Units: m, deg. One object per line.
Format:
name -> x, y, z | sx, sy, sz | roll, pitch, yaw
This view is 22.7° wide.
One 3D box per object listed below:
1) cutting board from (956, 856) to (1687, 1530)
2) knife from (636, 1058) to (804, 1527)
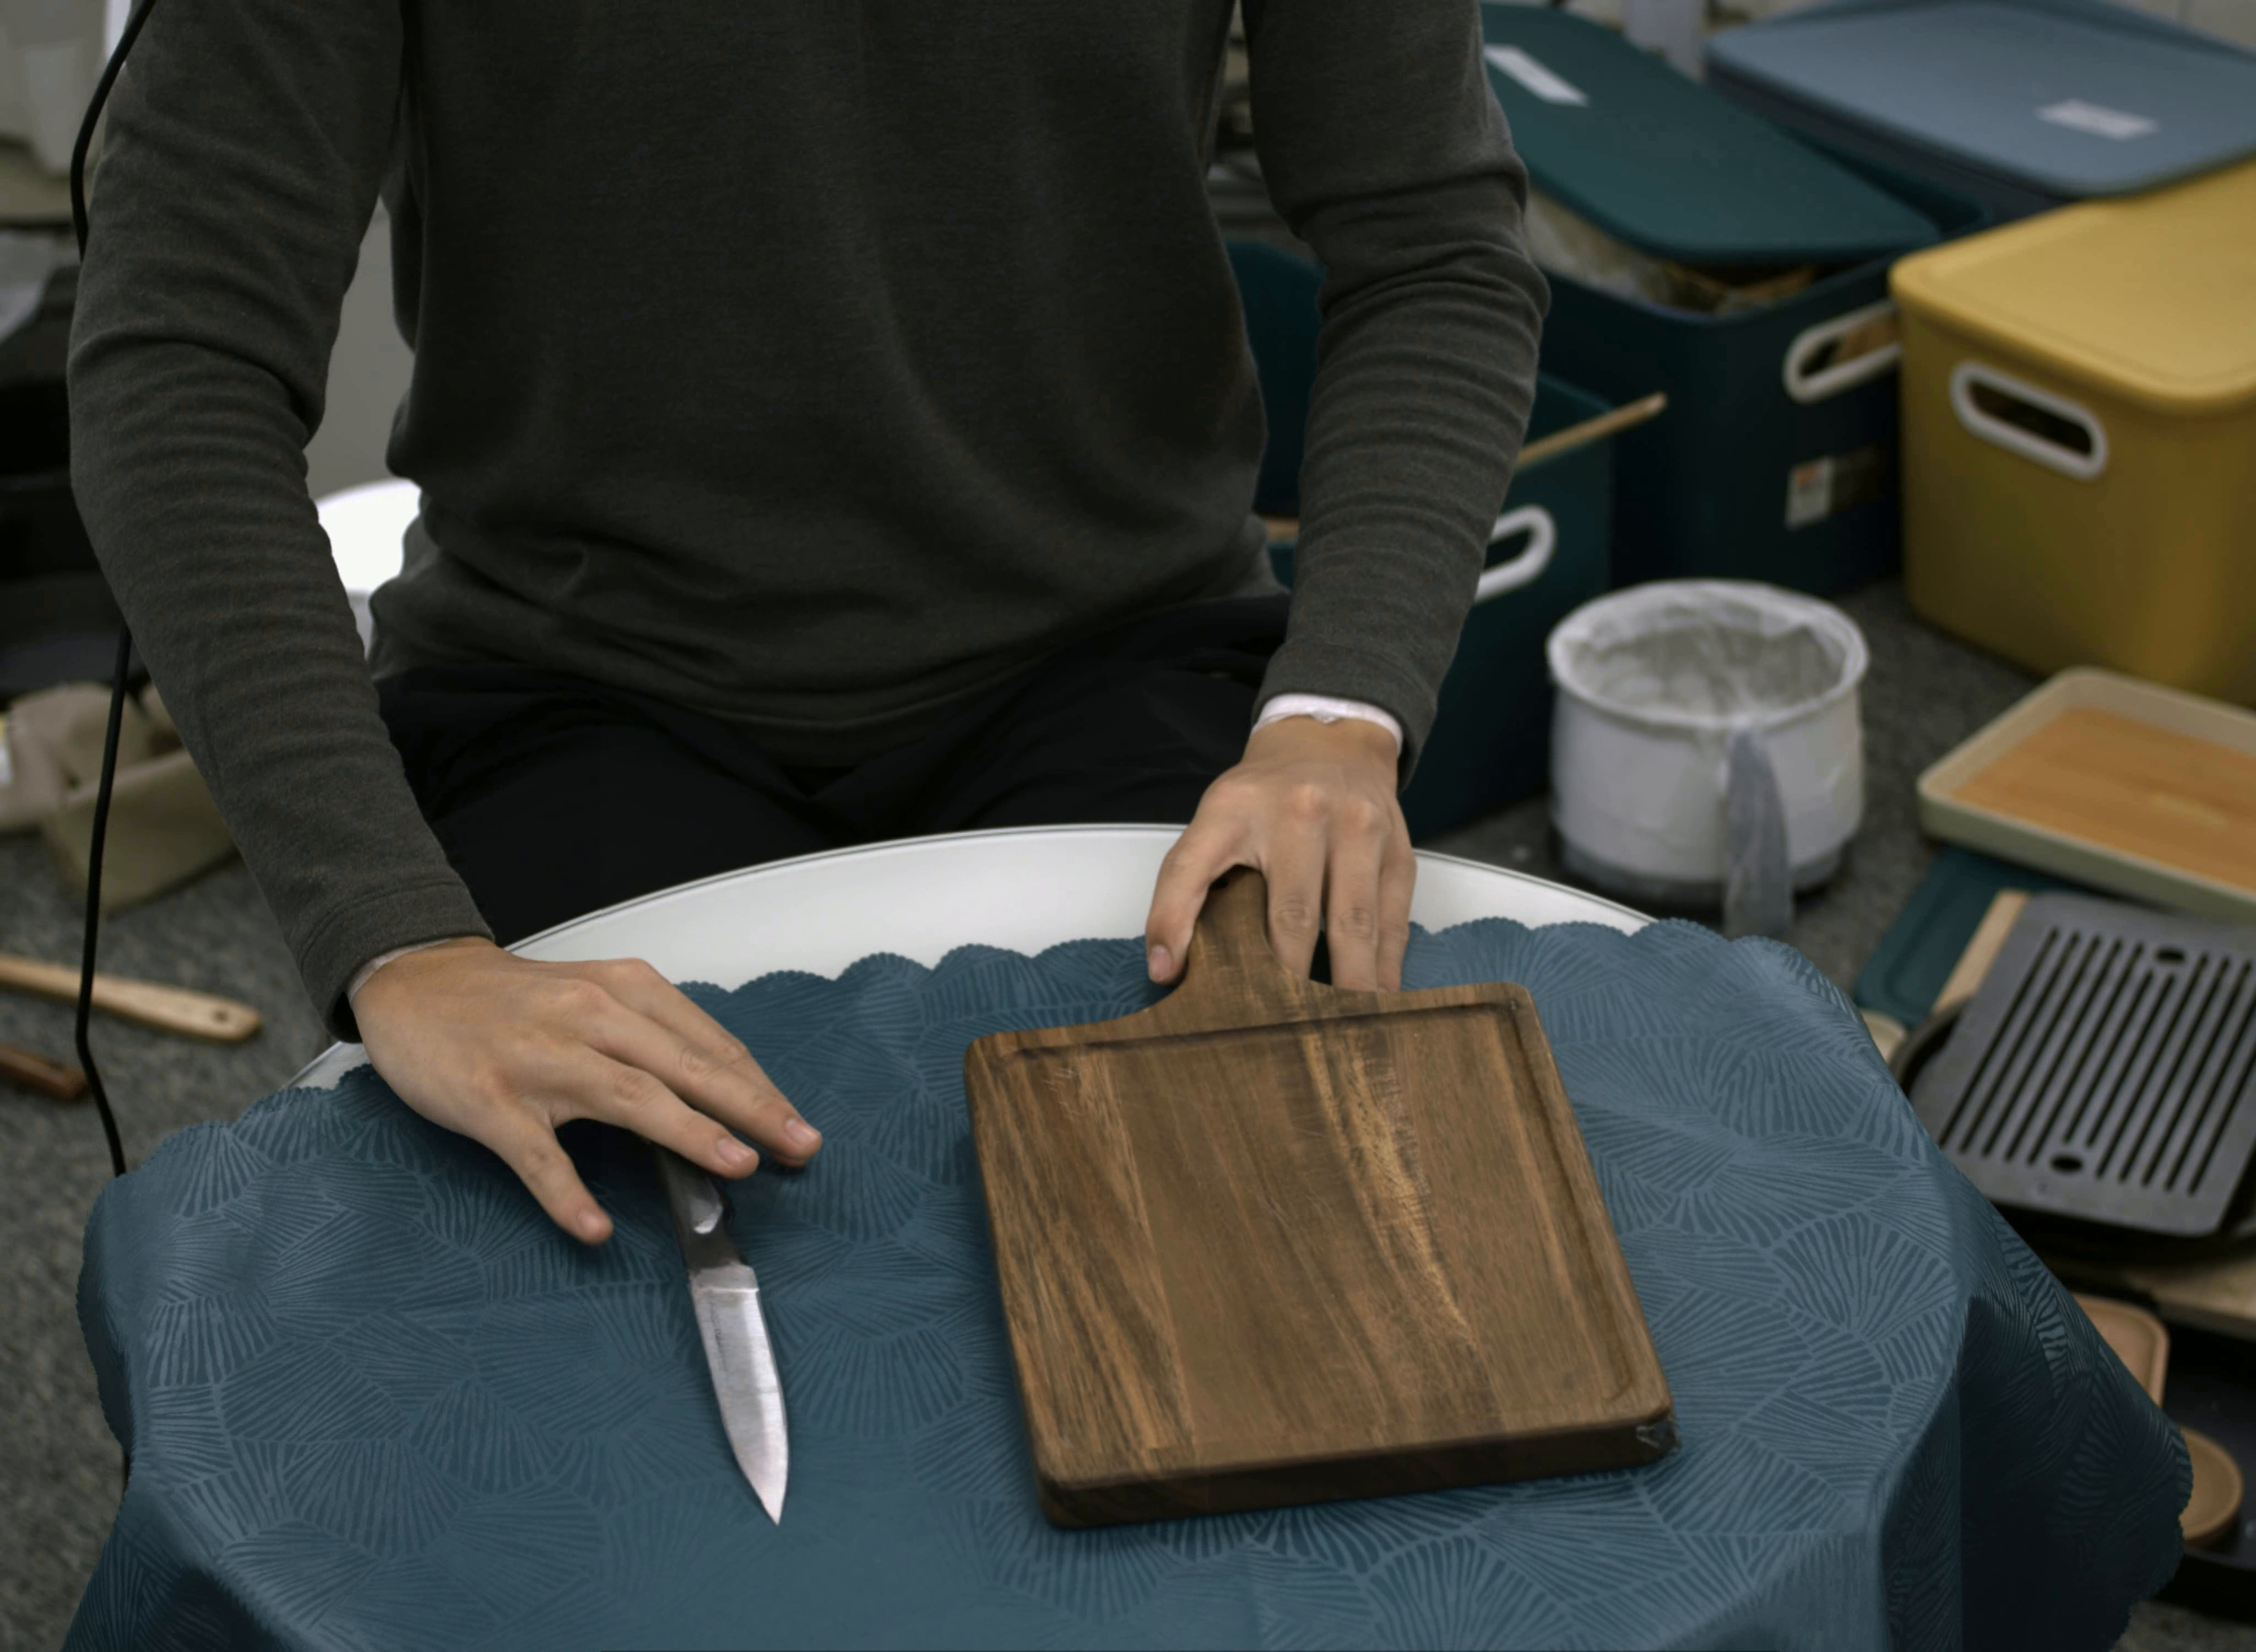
cutting board -> 0.049, 0.107, 1.841 | 0.200, 0.023, 0.357 | -5, 30, -6
knife -> -0.131, 0.148, 1.793 | 0.024, 0.016, 0.241 | -5, 34, -13
